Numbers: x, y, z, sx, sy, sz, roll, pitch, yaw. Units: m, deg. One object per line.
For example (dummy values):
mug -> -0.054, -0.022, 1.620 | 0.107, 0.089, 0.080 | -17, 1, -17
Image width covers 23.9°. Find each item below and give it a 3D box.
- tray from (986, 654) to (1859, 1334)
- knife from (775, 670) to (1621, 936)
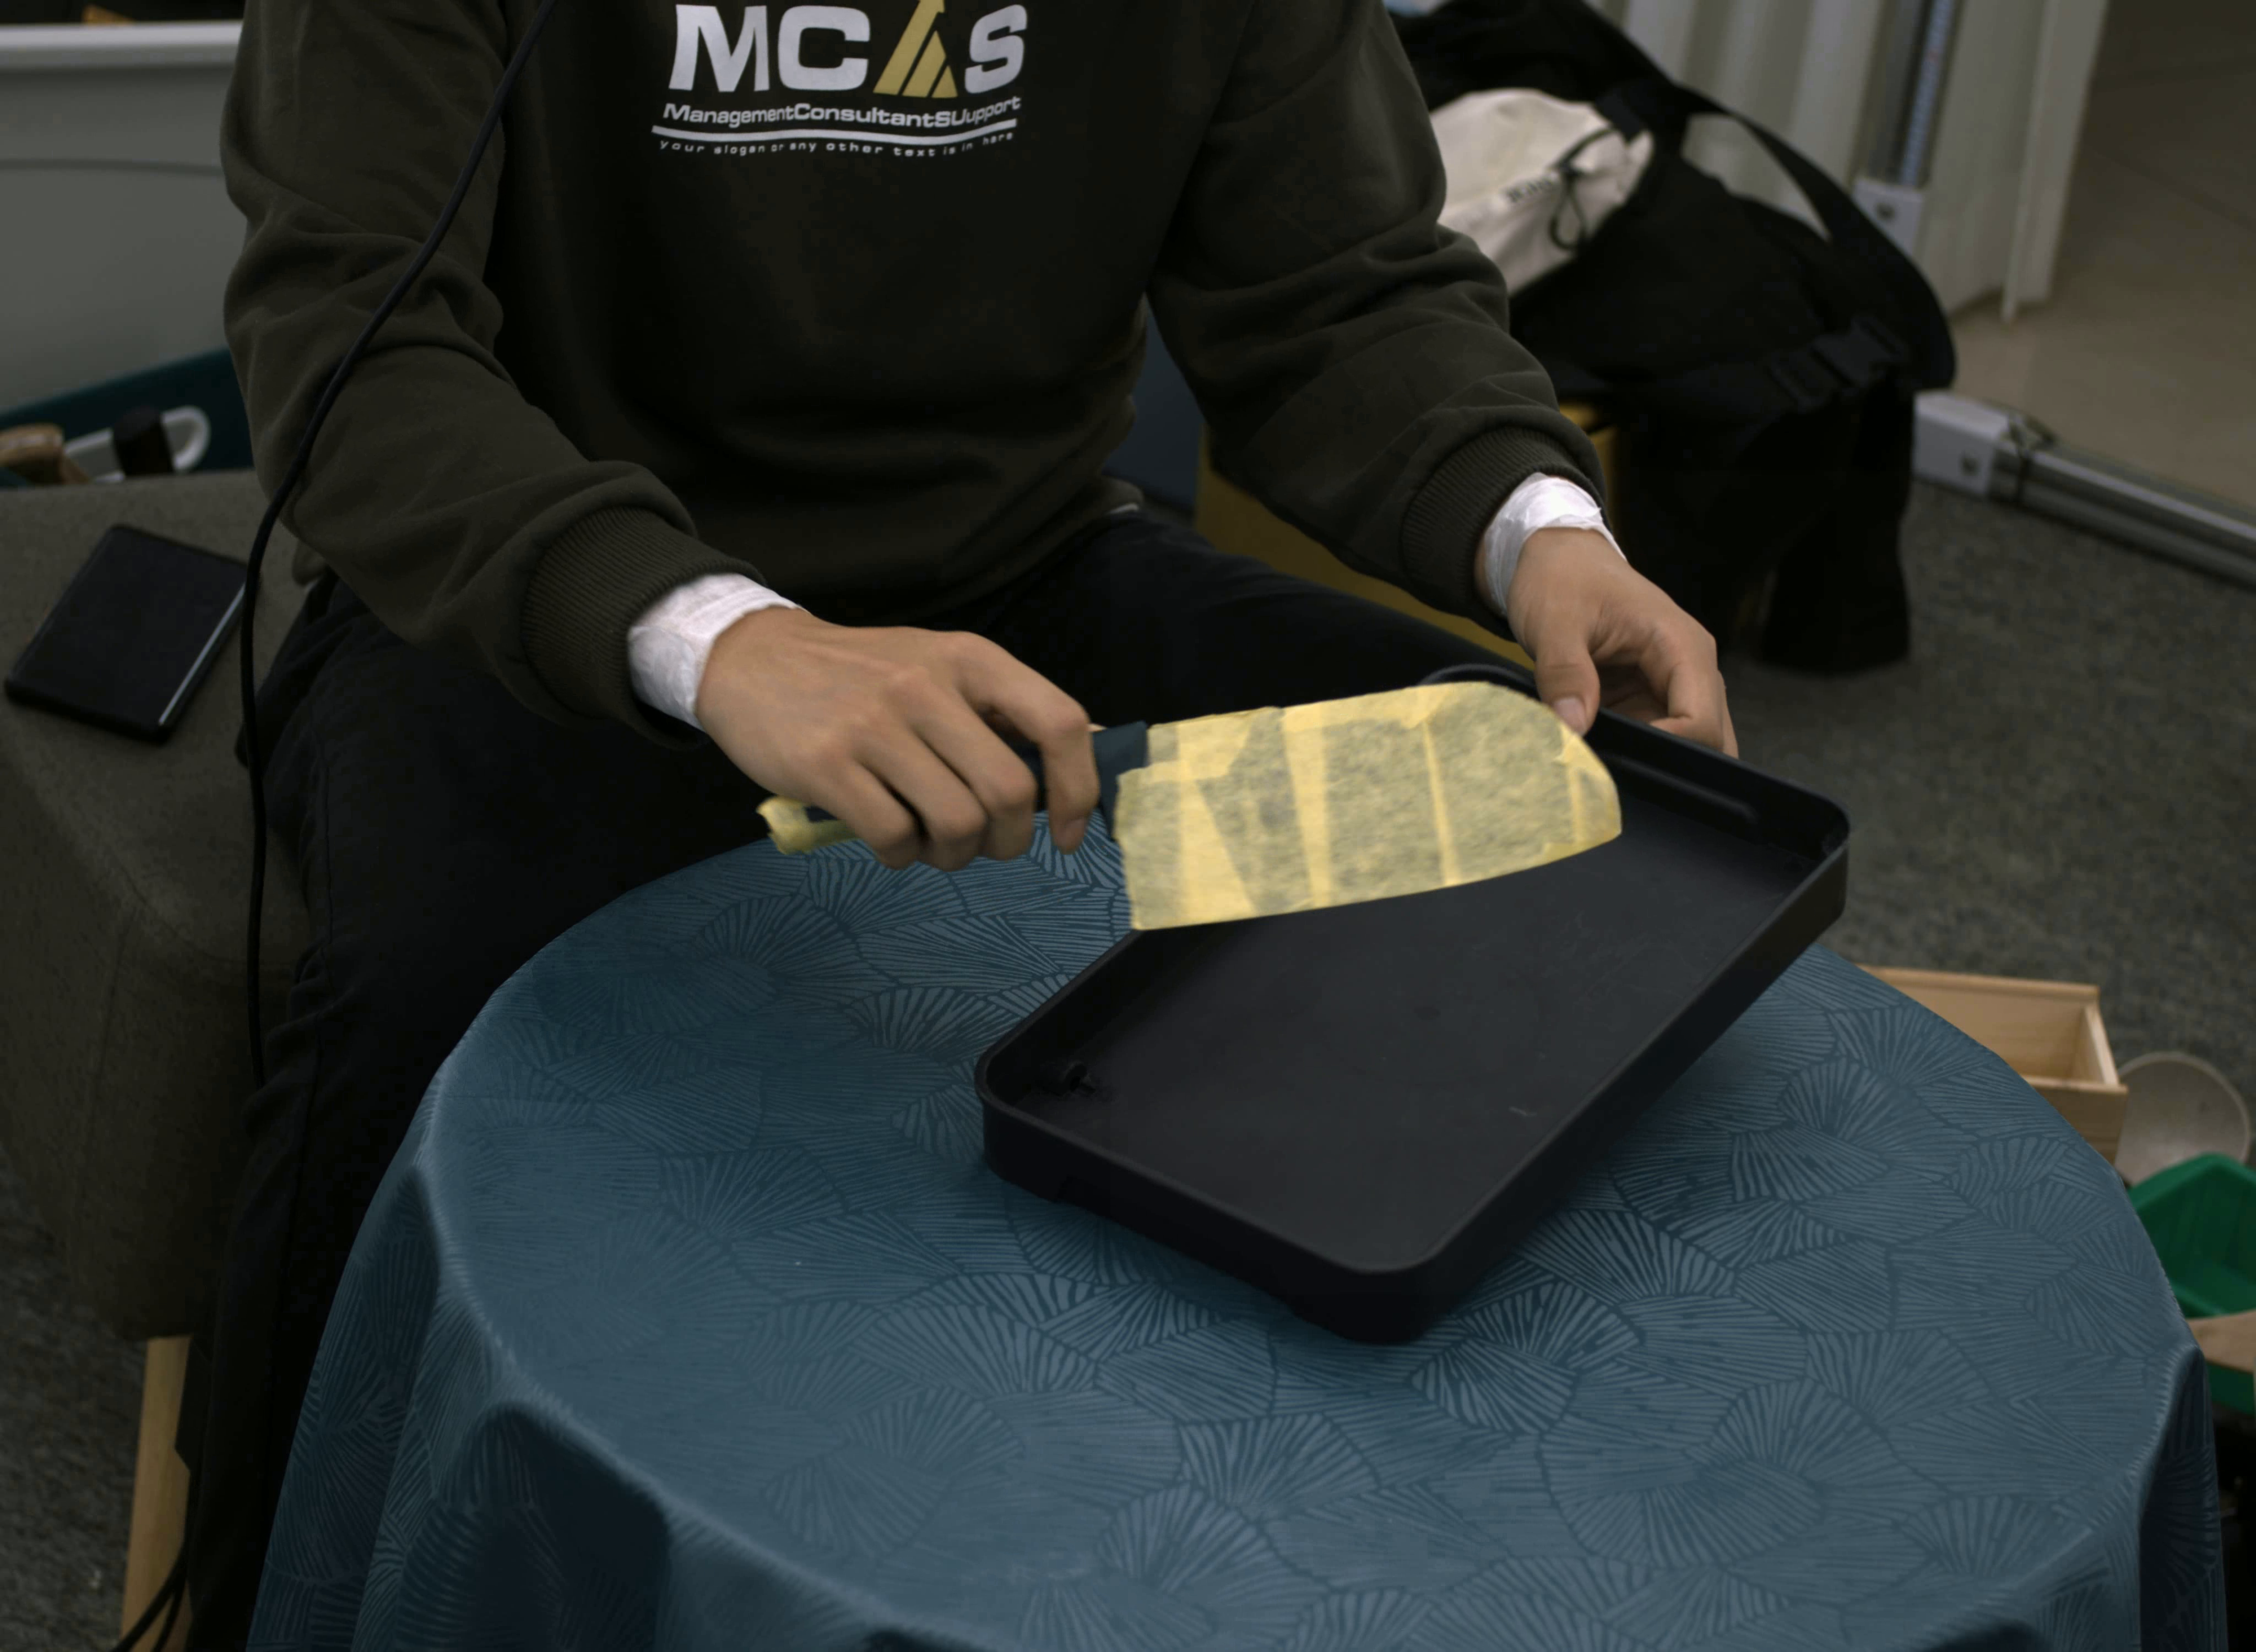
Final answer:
tray -> 0.108, 0.051, 1.863 | 0.185, 0.037, 0.318 | 21, 42, 28
knife -> 0.024, -0.003, 1.807 | 0.289, 0.081, 0.027 | -7, -18, 5
